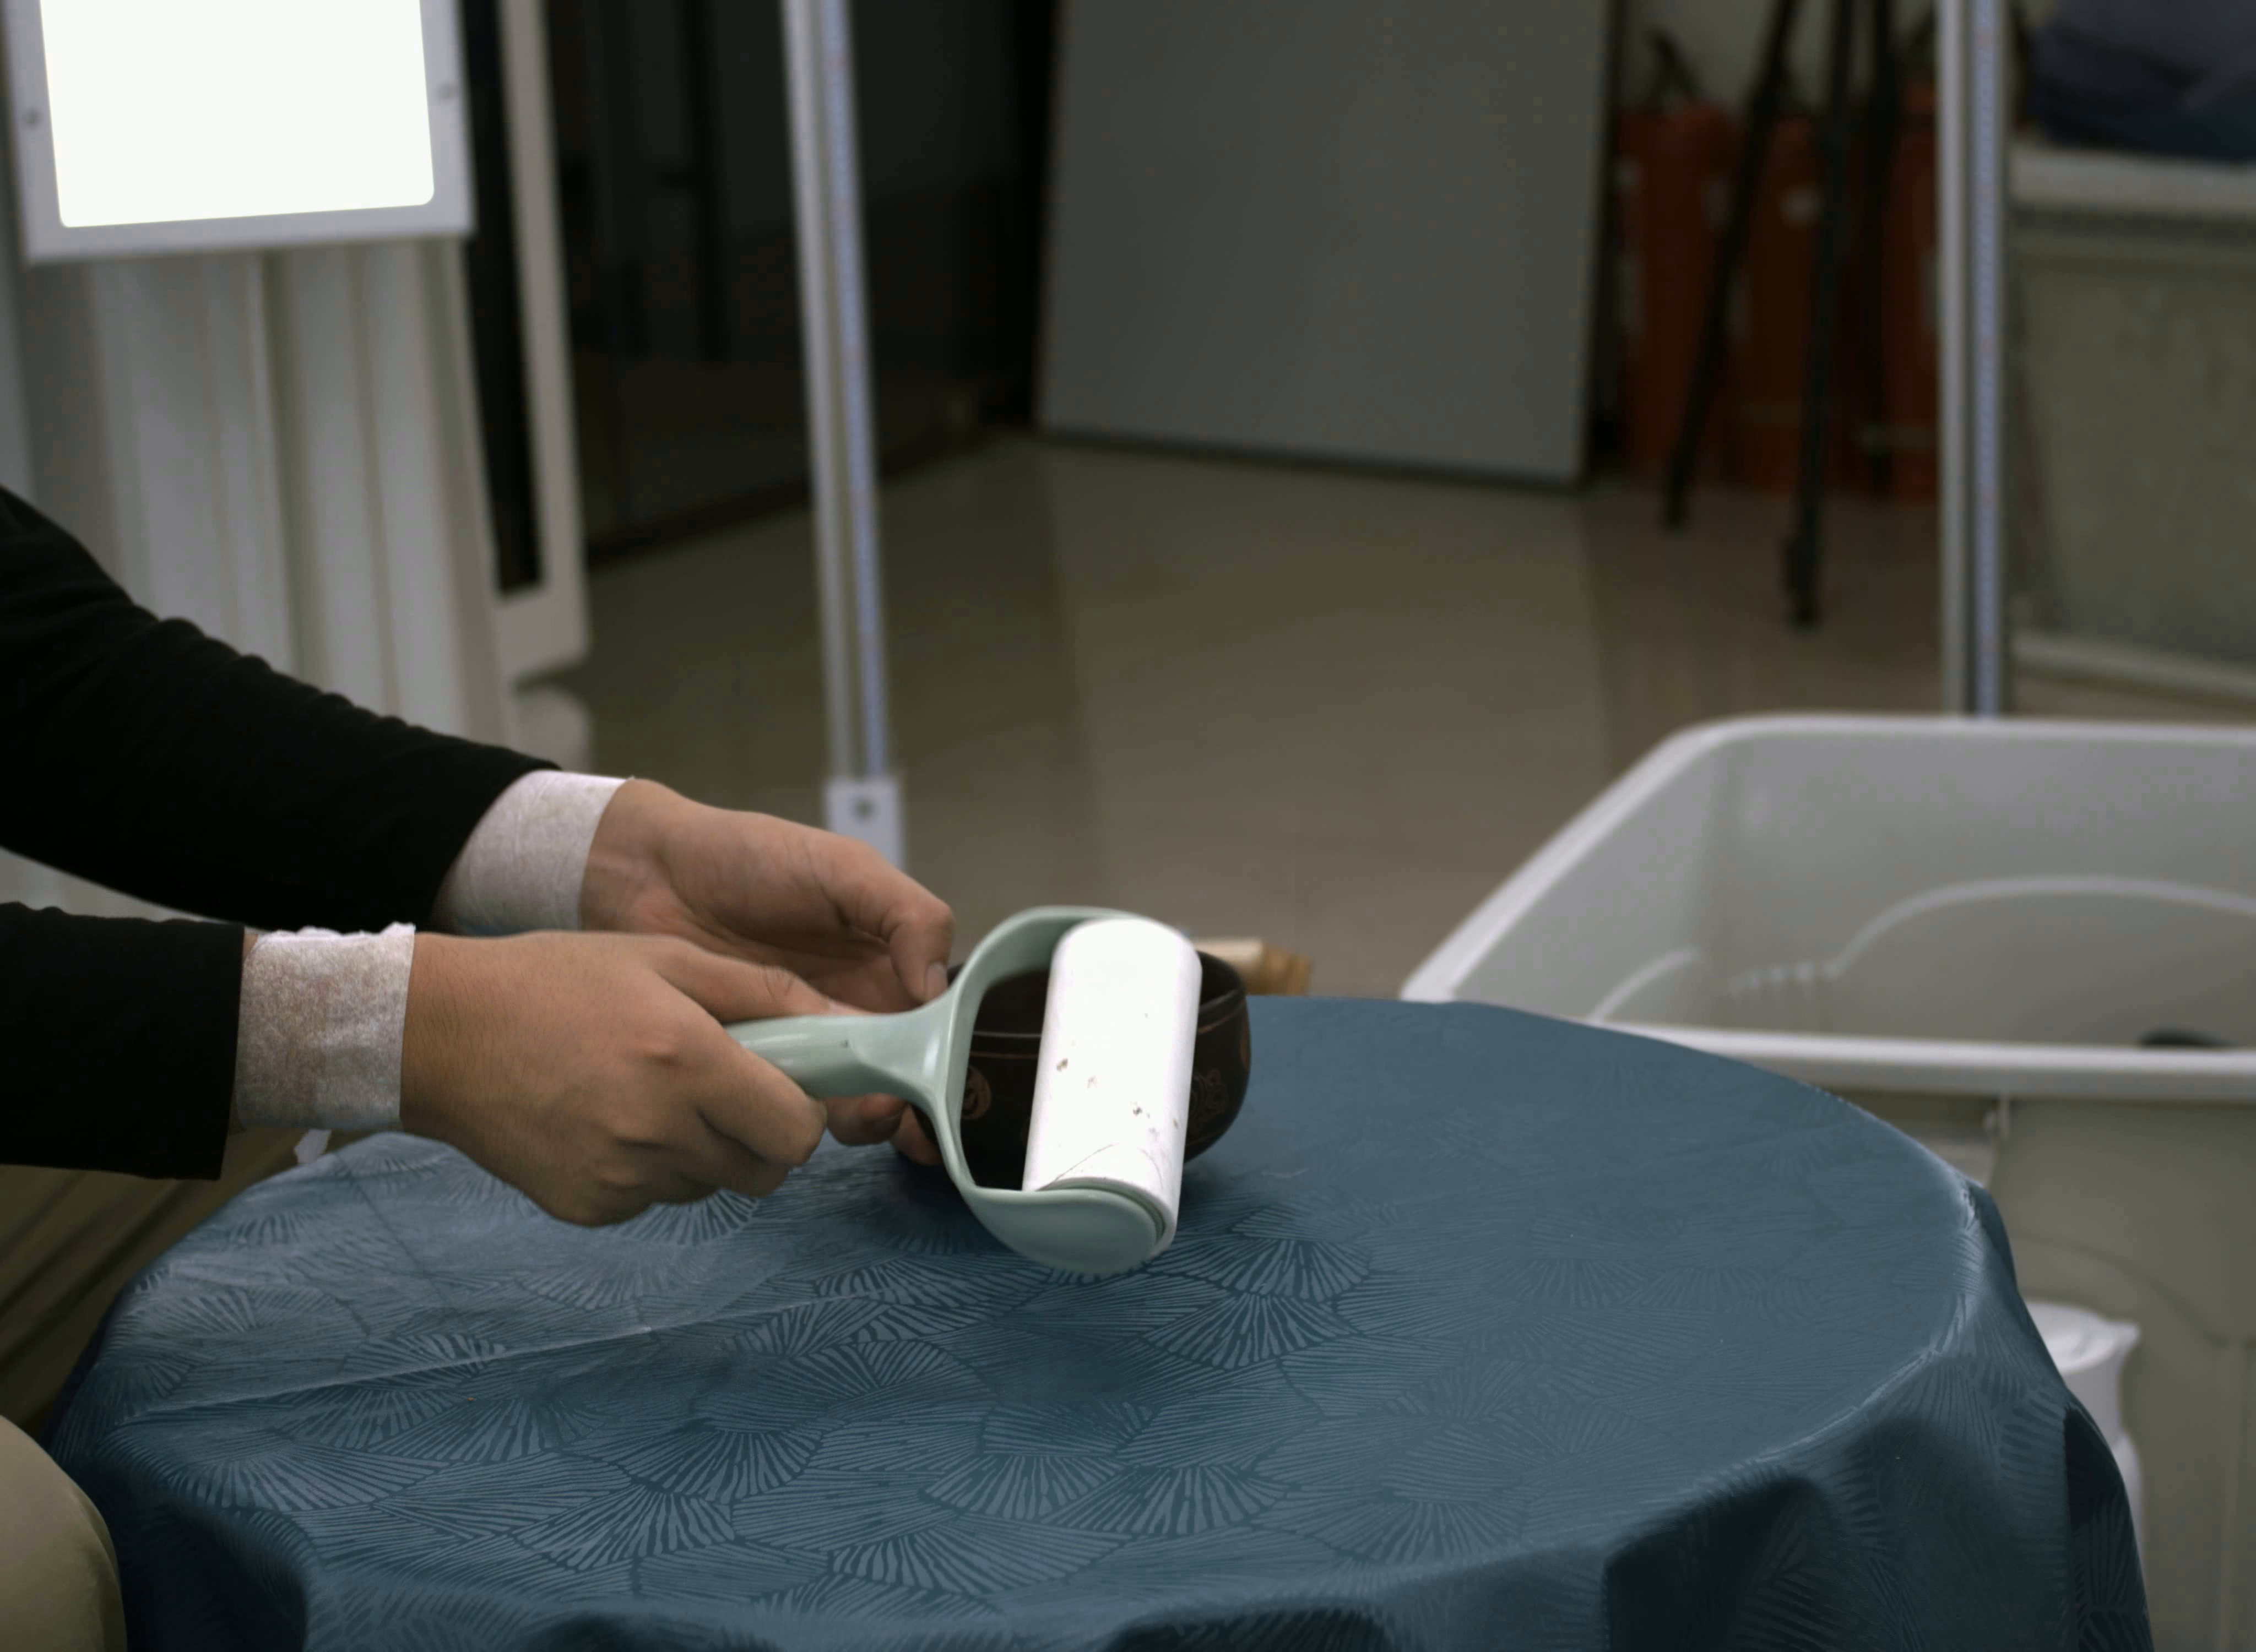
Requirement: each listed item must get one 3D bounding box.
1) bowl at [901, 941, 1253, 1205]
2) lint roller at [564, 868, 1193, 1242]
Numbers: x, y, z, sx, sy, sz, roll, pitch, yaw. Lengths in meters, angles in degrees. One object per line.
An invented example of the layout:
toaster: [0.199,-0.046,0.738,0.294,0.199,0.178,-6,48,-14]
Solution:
bowl: [-0.016,0.085,1.768,0.116,0.070,0.118,-6,13,1]
lint roller: [-0.077,0.069,1.641,0.196,0.048,0.117,0,53,9]
